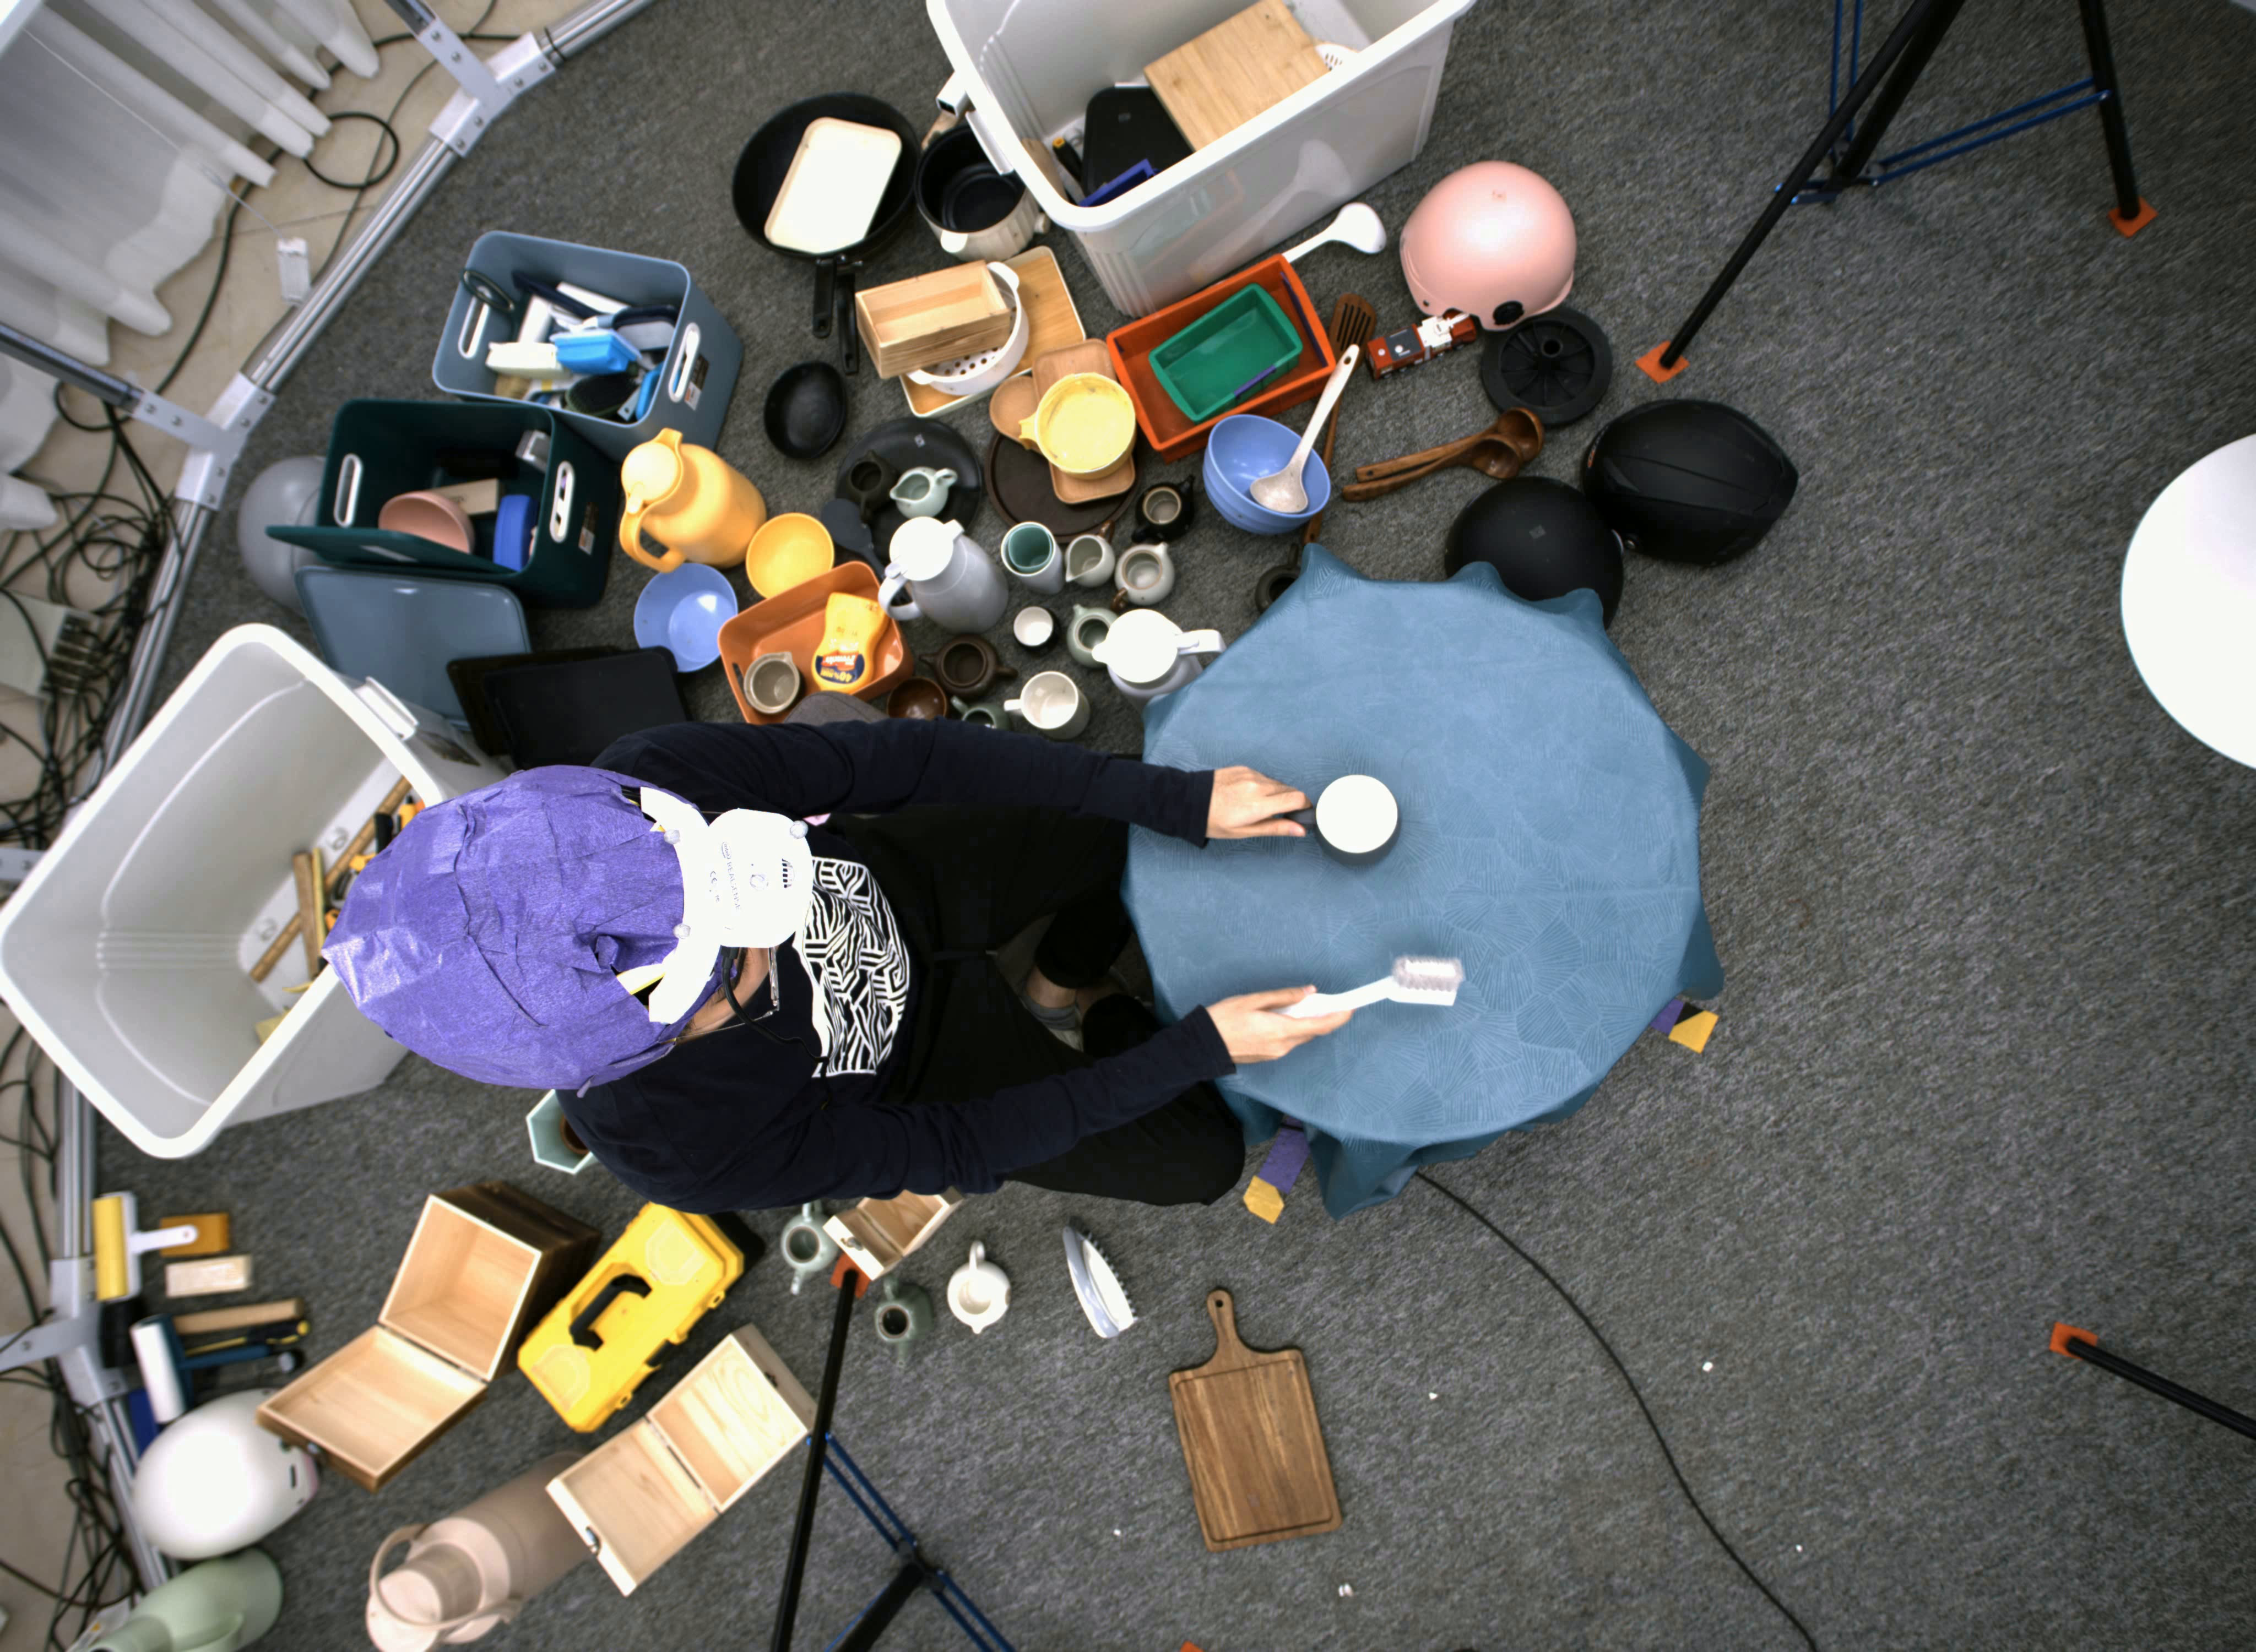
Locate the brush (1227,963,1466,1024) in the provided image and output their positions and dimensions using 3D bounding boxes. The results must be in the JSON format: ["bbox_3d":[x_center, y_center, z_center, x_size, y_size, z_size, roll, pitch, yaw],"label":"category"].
[{"bbox_3d":[0.217,0.168,1.396,0.245,0.051,0.033,-6,45,13],"label":"brush"}]

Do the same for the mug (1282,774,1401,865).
[{"bbox_3d":[0.220,-0.010,1.424,0.123,0.090,0.093,1,84,9],"label":"mug"}]
